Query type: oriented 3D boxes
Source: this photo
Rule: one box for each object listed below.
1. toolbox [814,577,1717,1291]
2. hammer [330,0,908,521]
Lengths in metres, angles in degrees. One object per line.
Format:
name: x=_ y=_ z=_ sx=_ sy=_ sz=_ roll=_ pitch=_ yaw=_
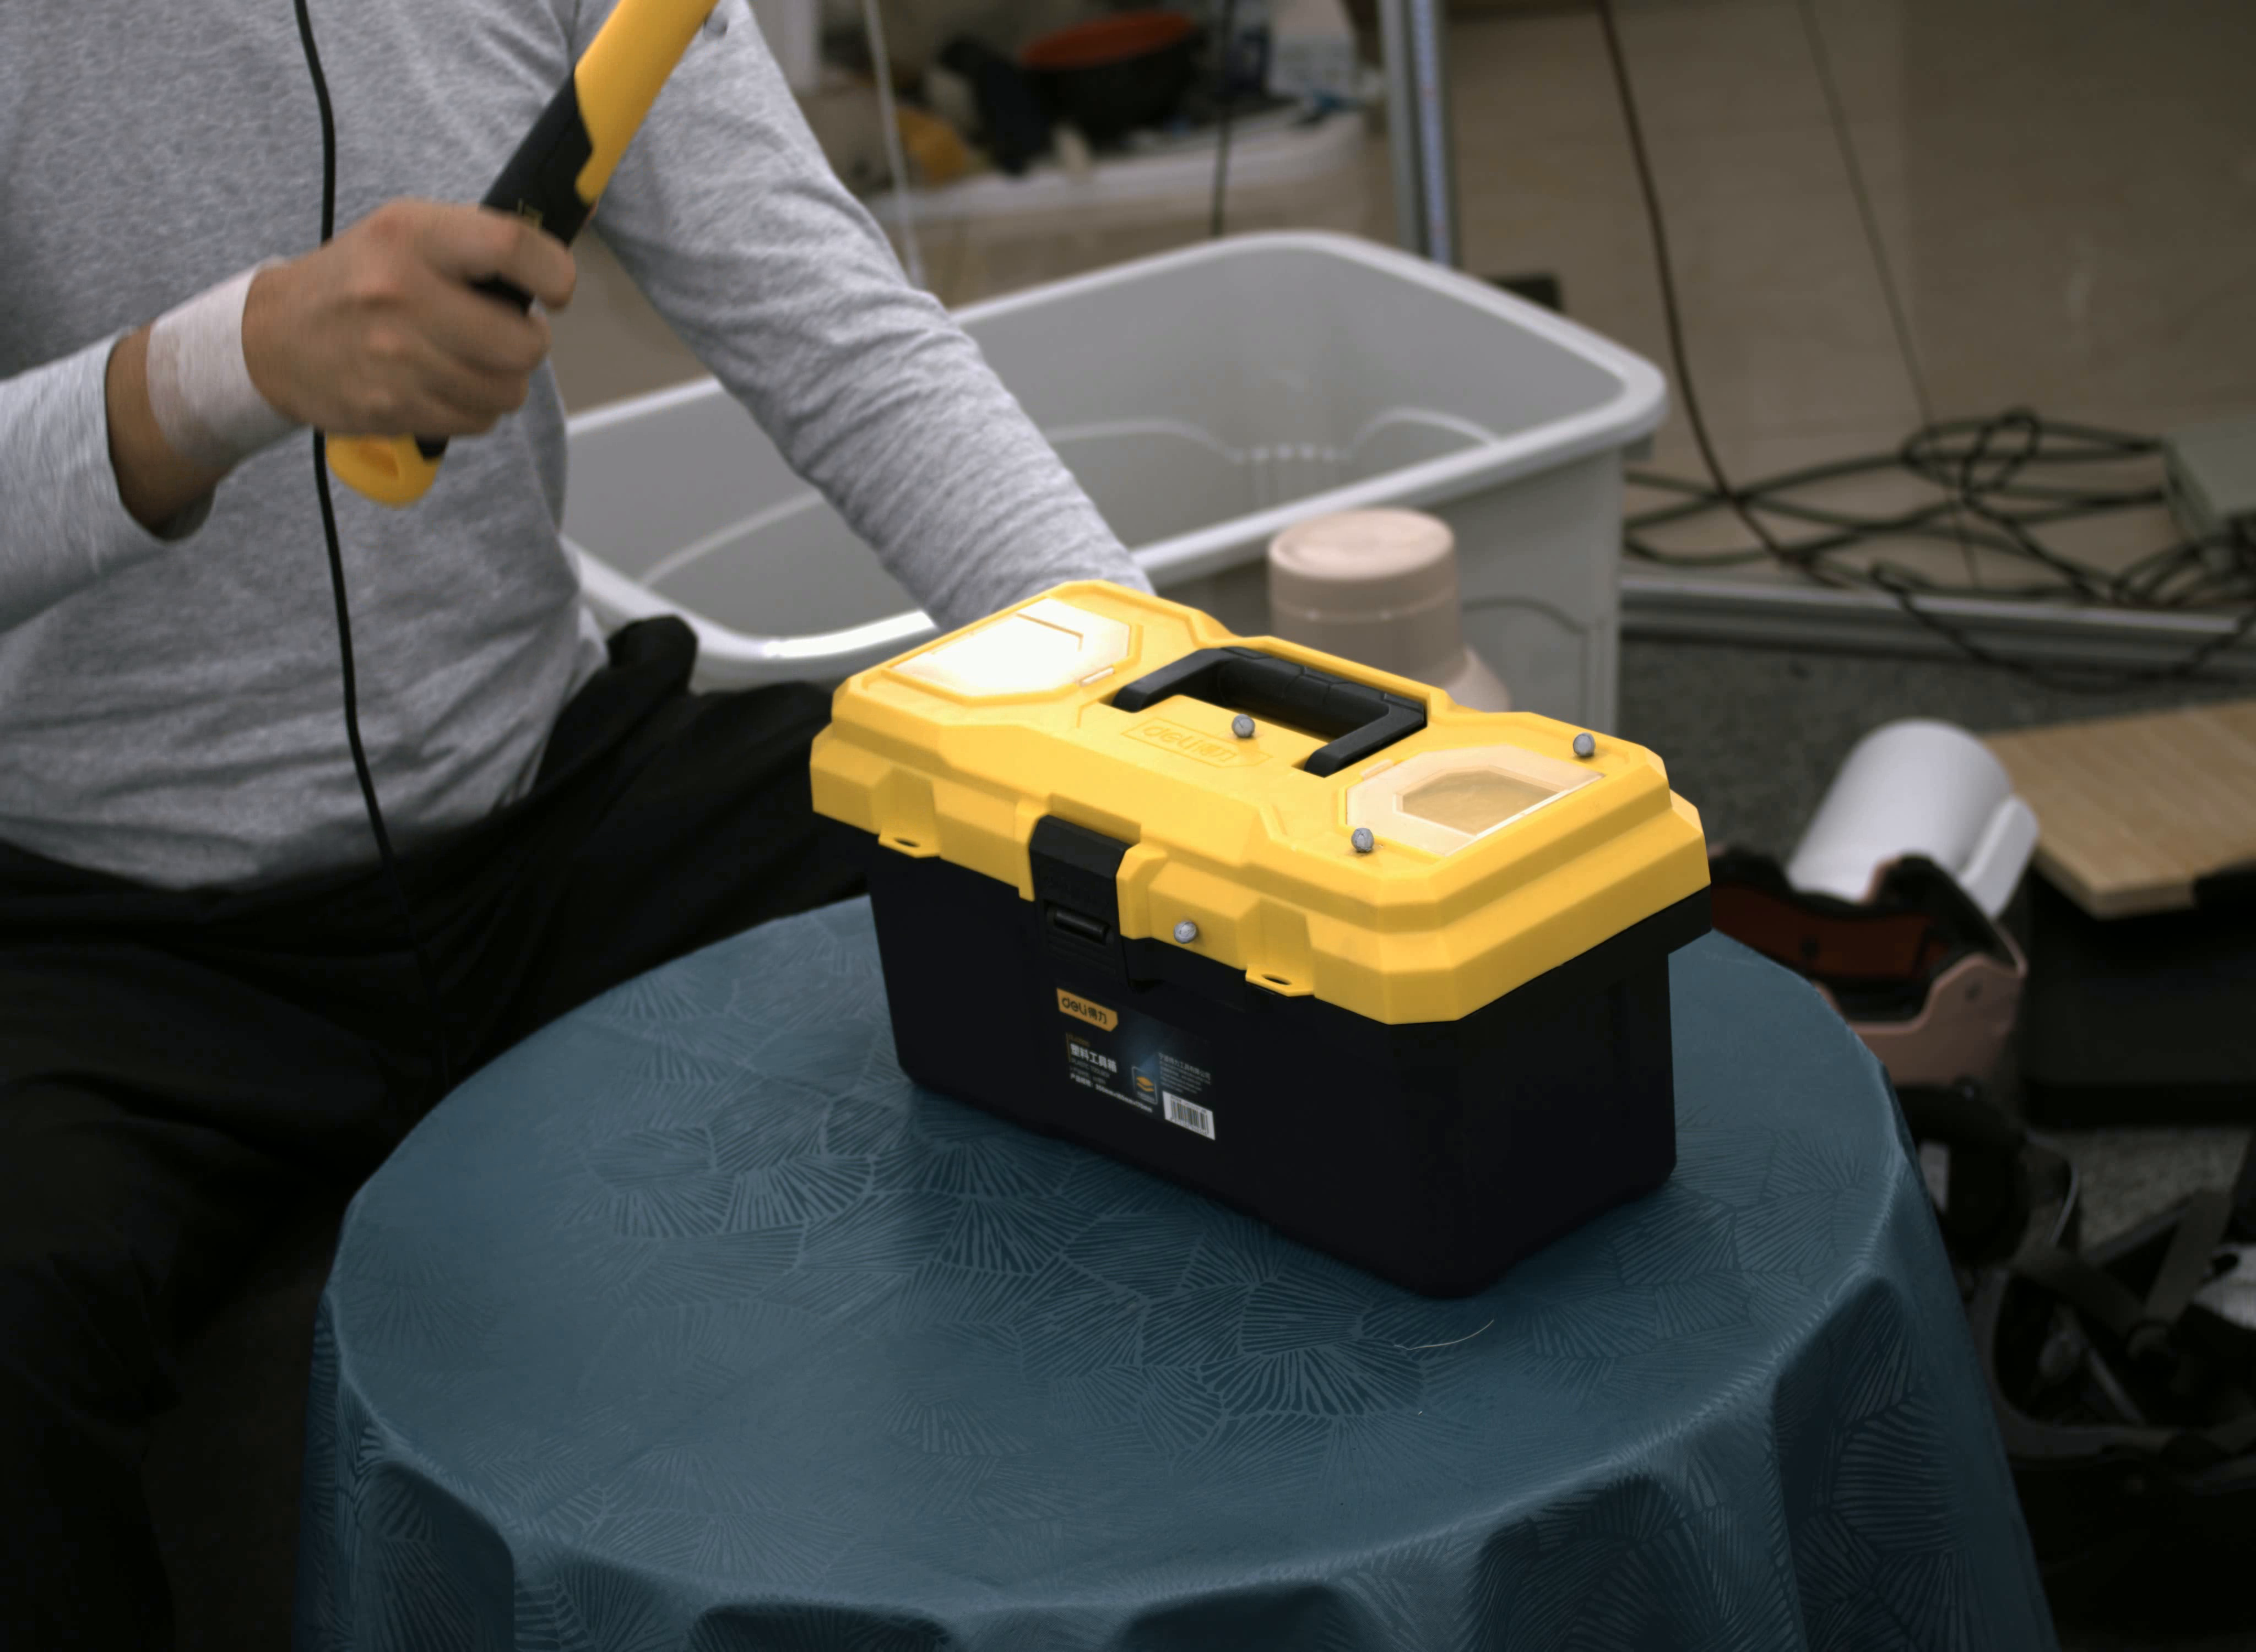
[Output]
toolbox: x=0.049 y=0.037 z=2.148 sx=0.180 sy=0.175 sz=0.348 roll=-26 pitch=31 yaw=-35
hammer: x=-0.197 y=-0.228 z=1.982 sx=0.132 sy=0.343 sz=0.032 roll=31 pitch=40 yaw=-9
